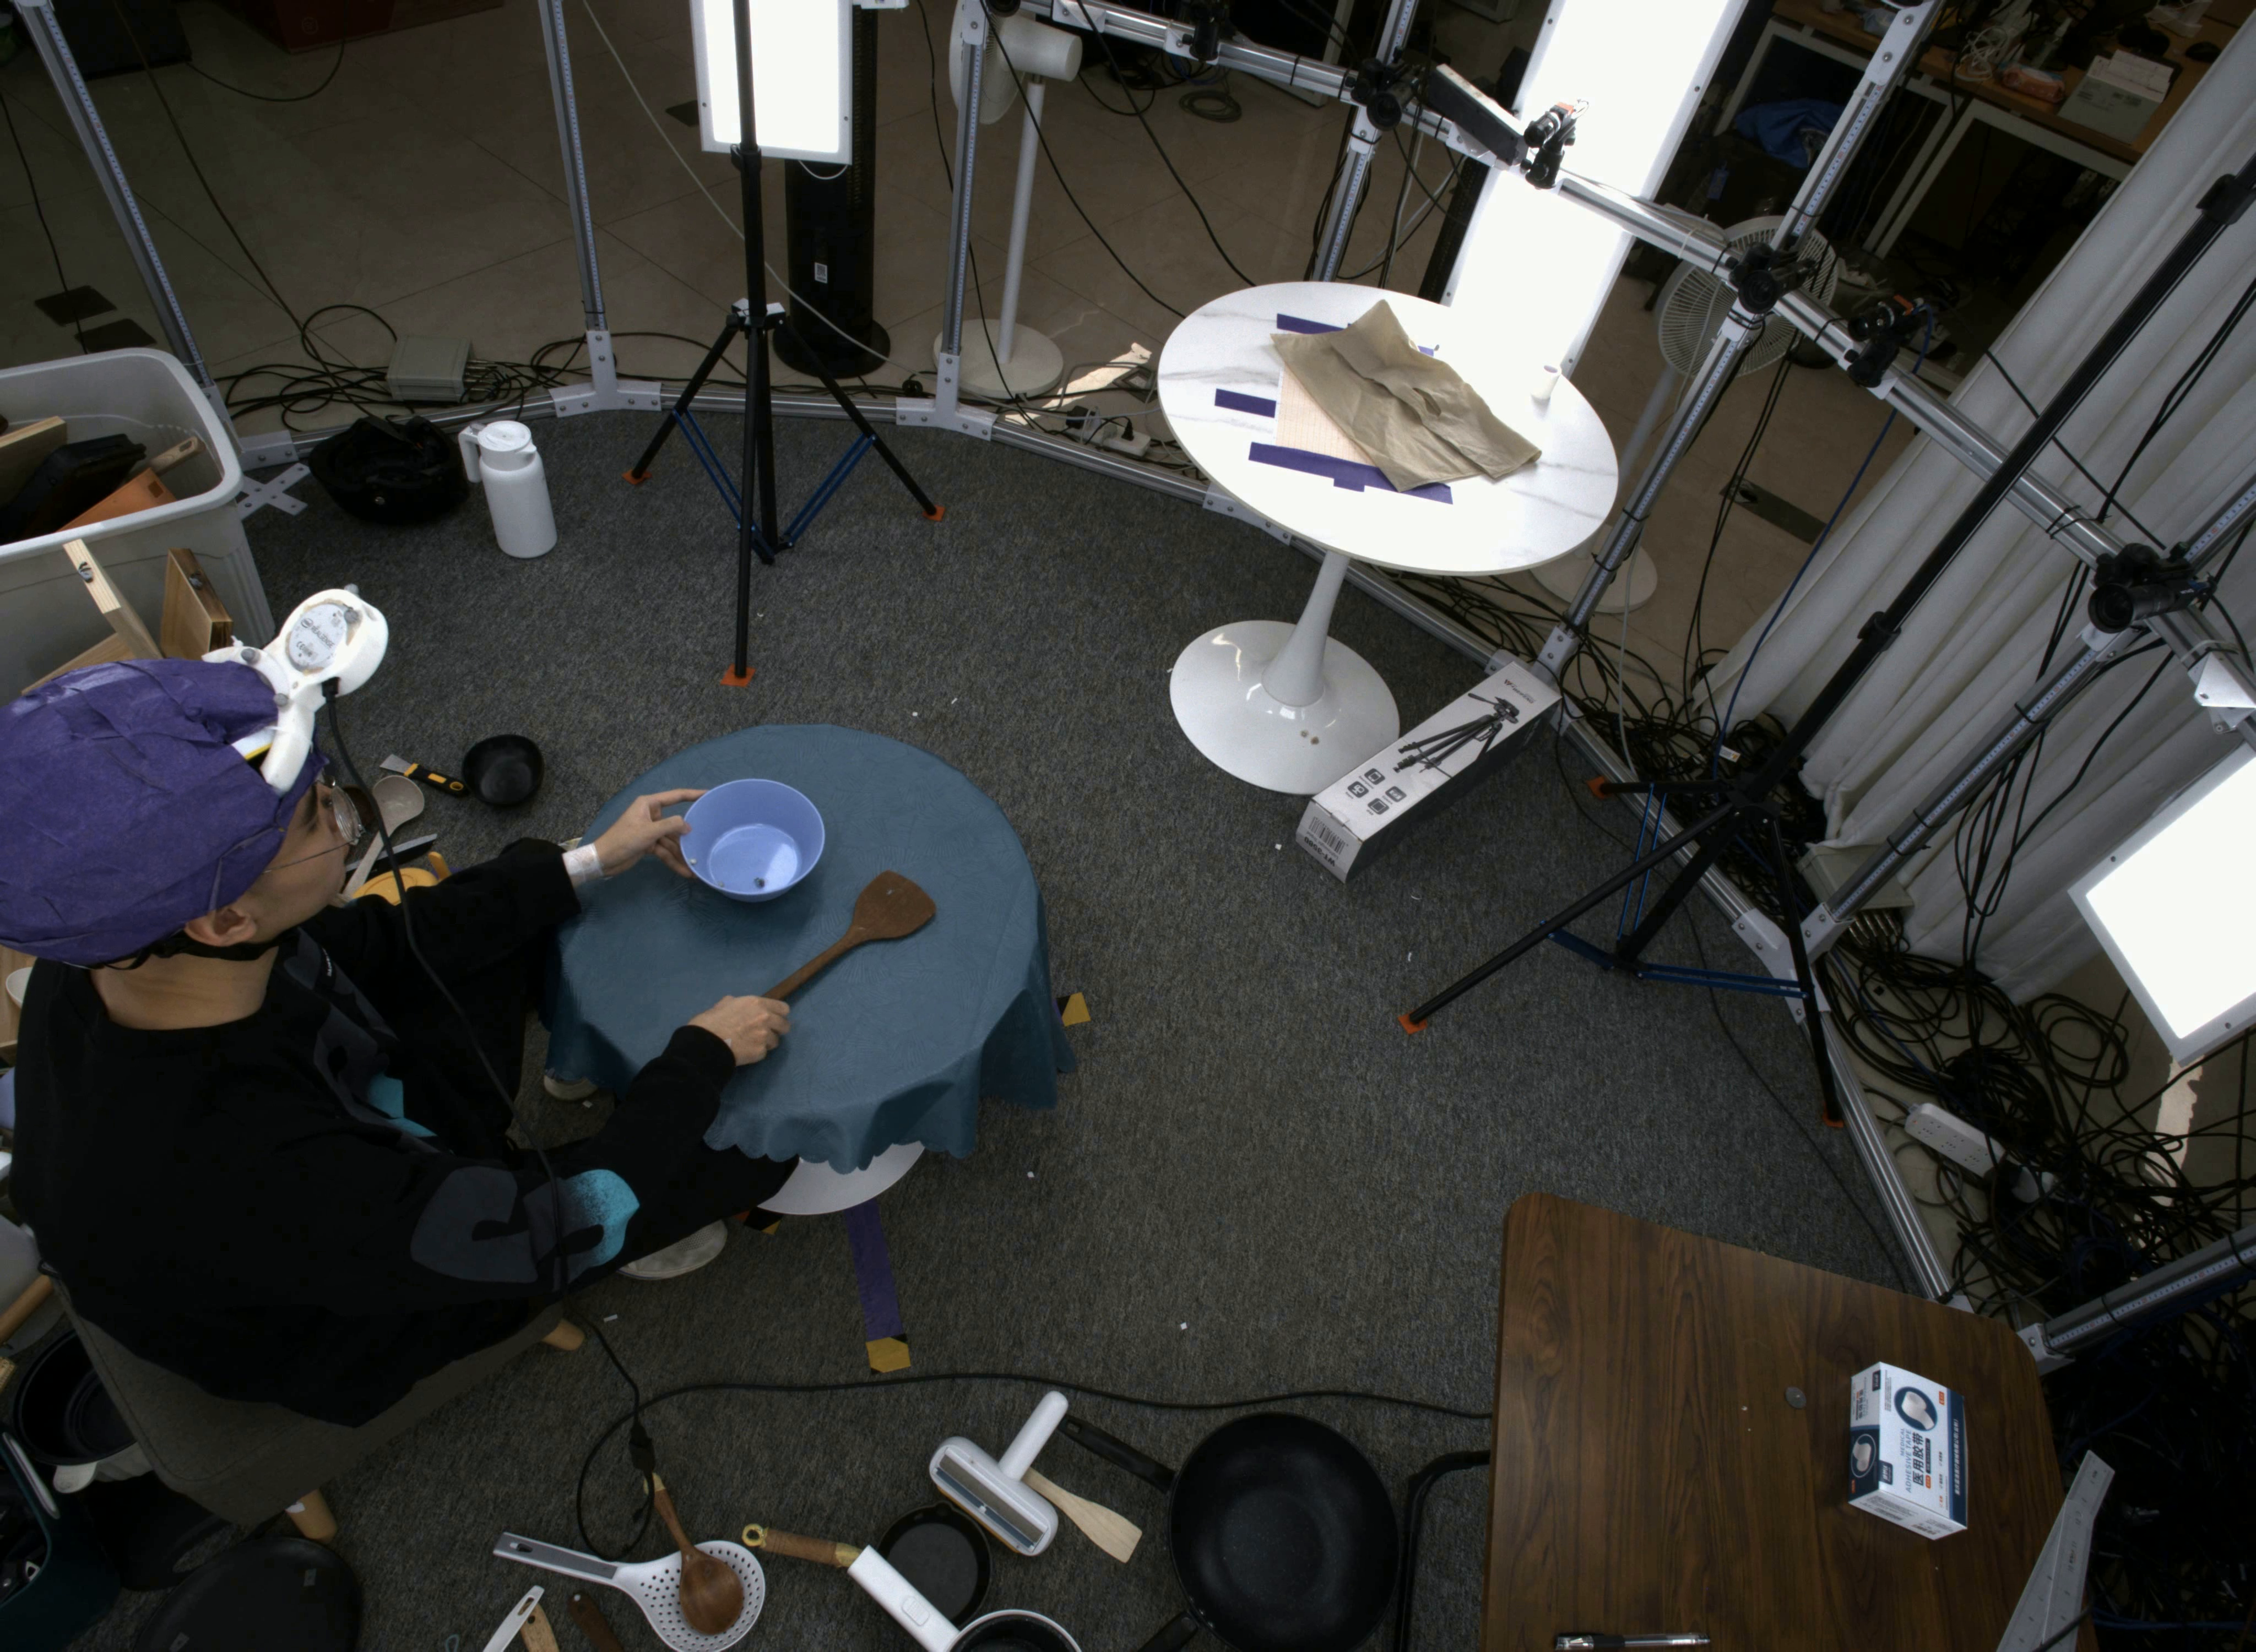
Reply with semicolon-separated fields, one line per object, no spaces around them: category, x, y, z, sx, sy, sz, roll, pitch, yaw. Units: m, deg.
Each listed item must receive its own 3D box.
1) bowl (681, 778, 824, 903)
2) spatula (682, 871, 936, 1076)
bowl;-0.473;0.029;1.640;0.176;0.071;0.173;7;55;-9
spatula;-0.391;0.177;1.587;0.094;0.016;0.386;37;50;15
